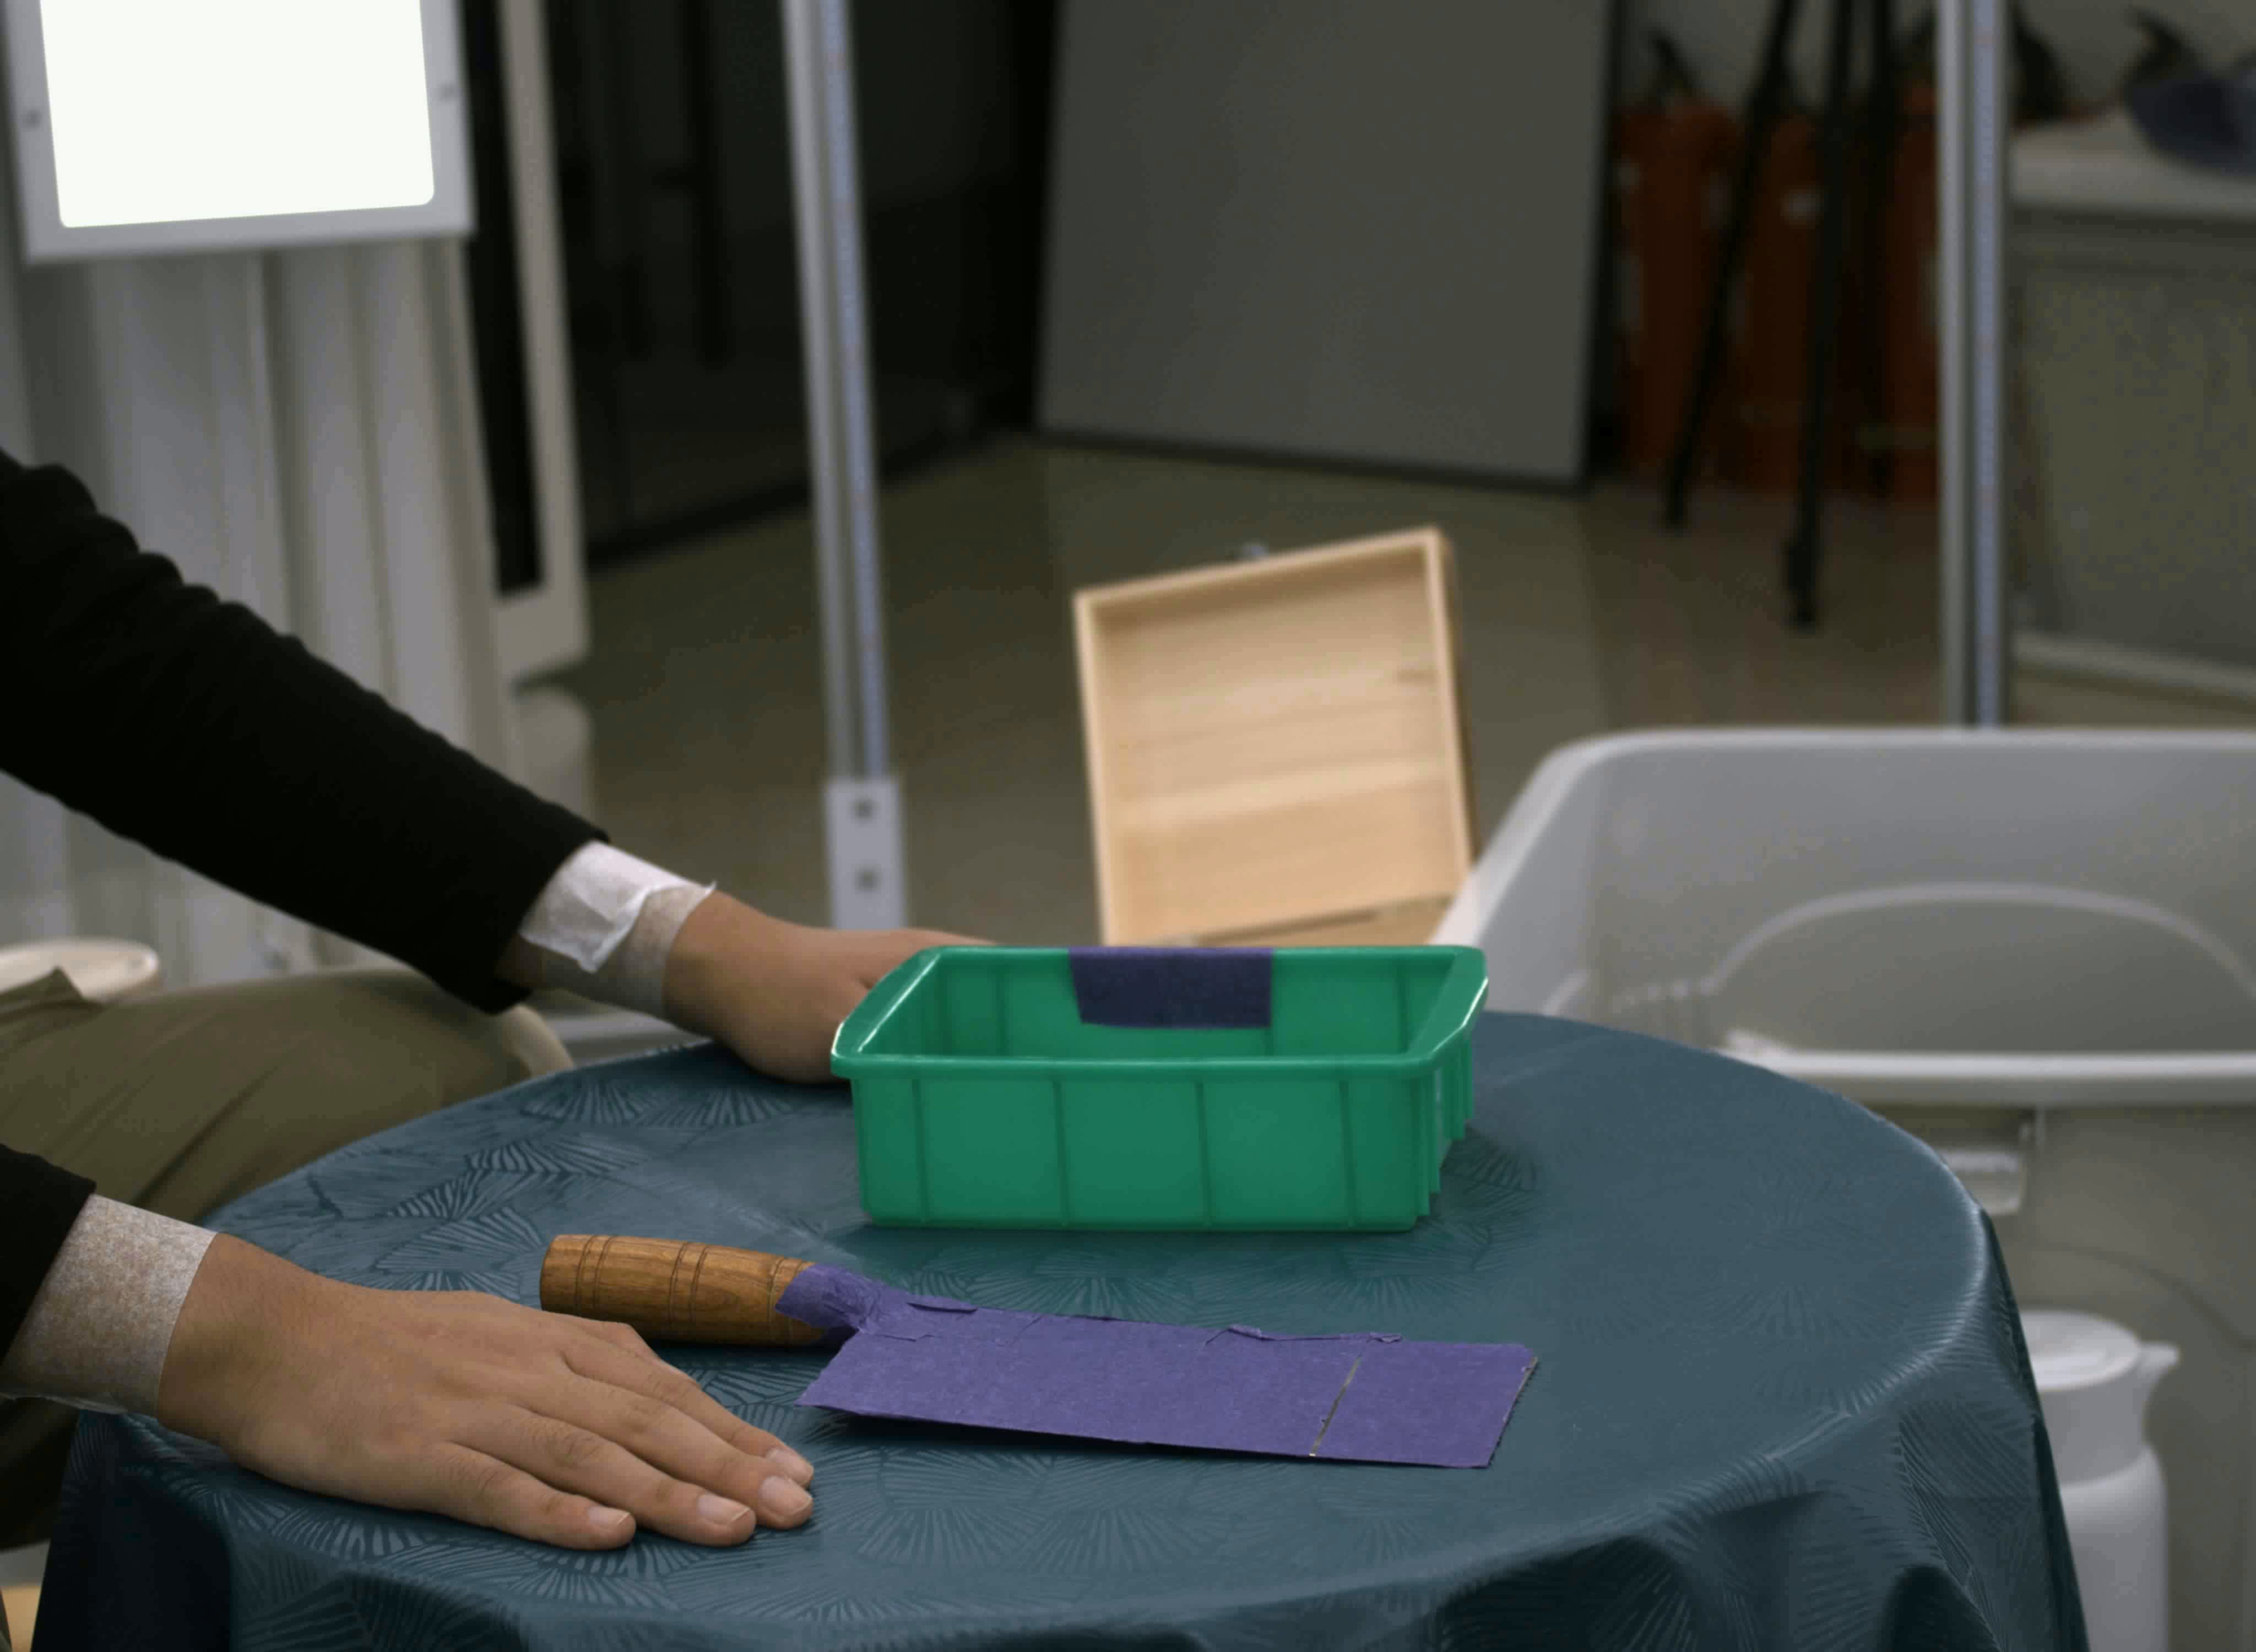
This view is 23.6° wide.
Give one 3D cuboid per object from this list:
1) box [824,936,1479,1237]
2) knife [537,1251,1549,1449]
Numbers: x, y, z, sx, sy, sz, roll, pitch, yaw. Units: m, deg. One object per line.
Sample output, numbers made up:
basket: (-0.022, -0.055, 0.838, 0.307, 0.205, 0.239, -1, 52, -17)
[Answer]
box: (0.012, 0.086, 1.777, 0.209, 0.066, 0.138, -3, 12, 13)
knife: (-0.035, 0.155, 1.588, 0.314, 0.032, 0.103, 0, 14, 16)
